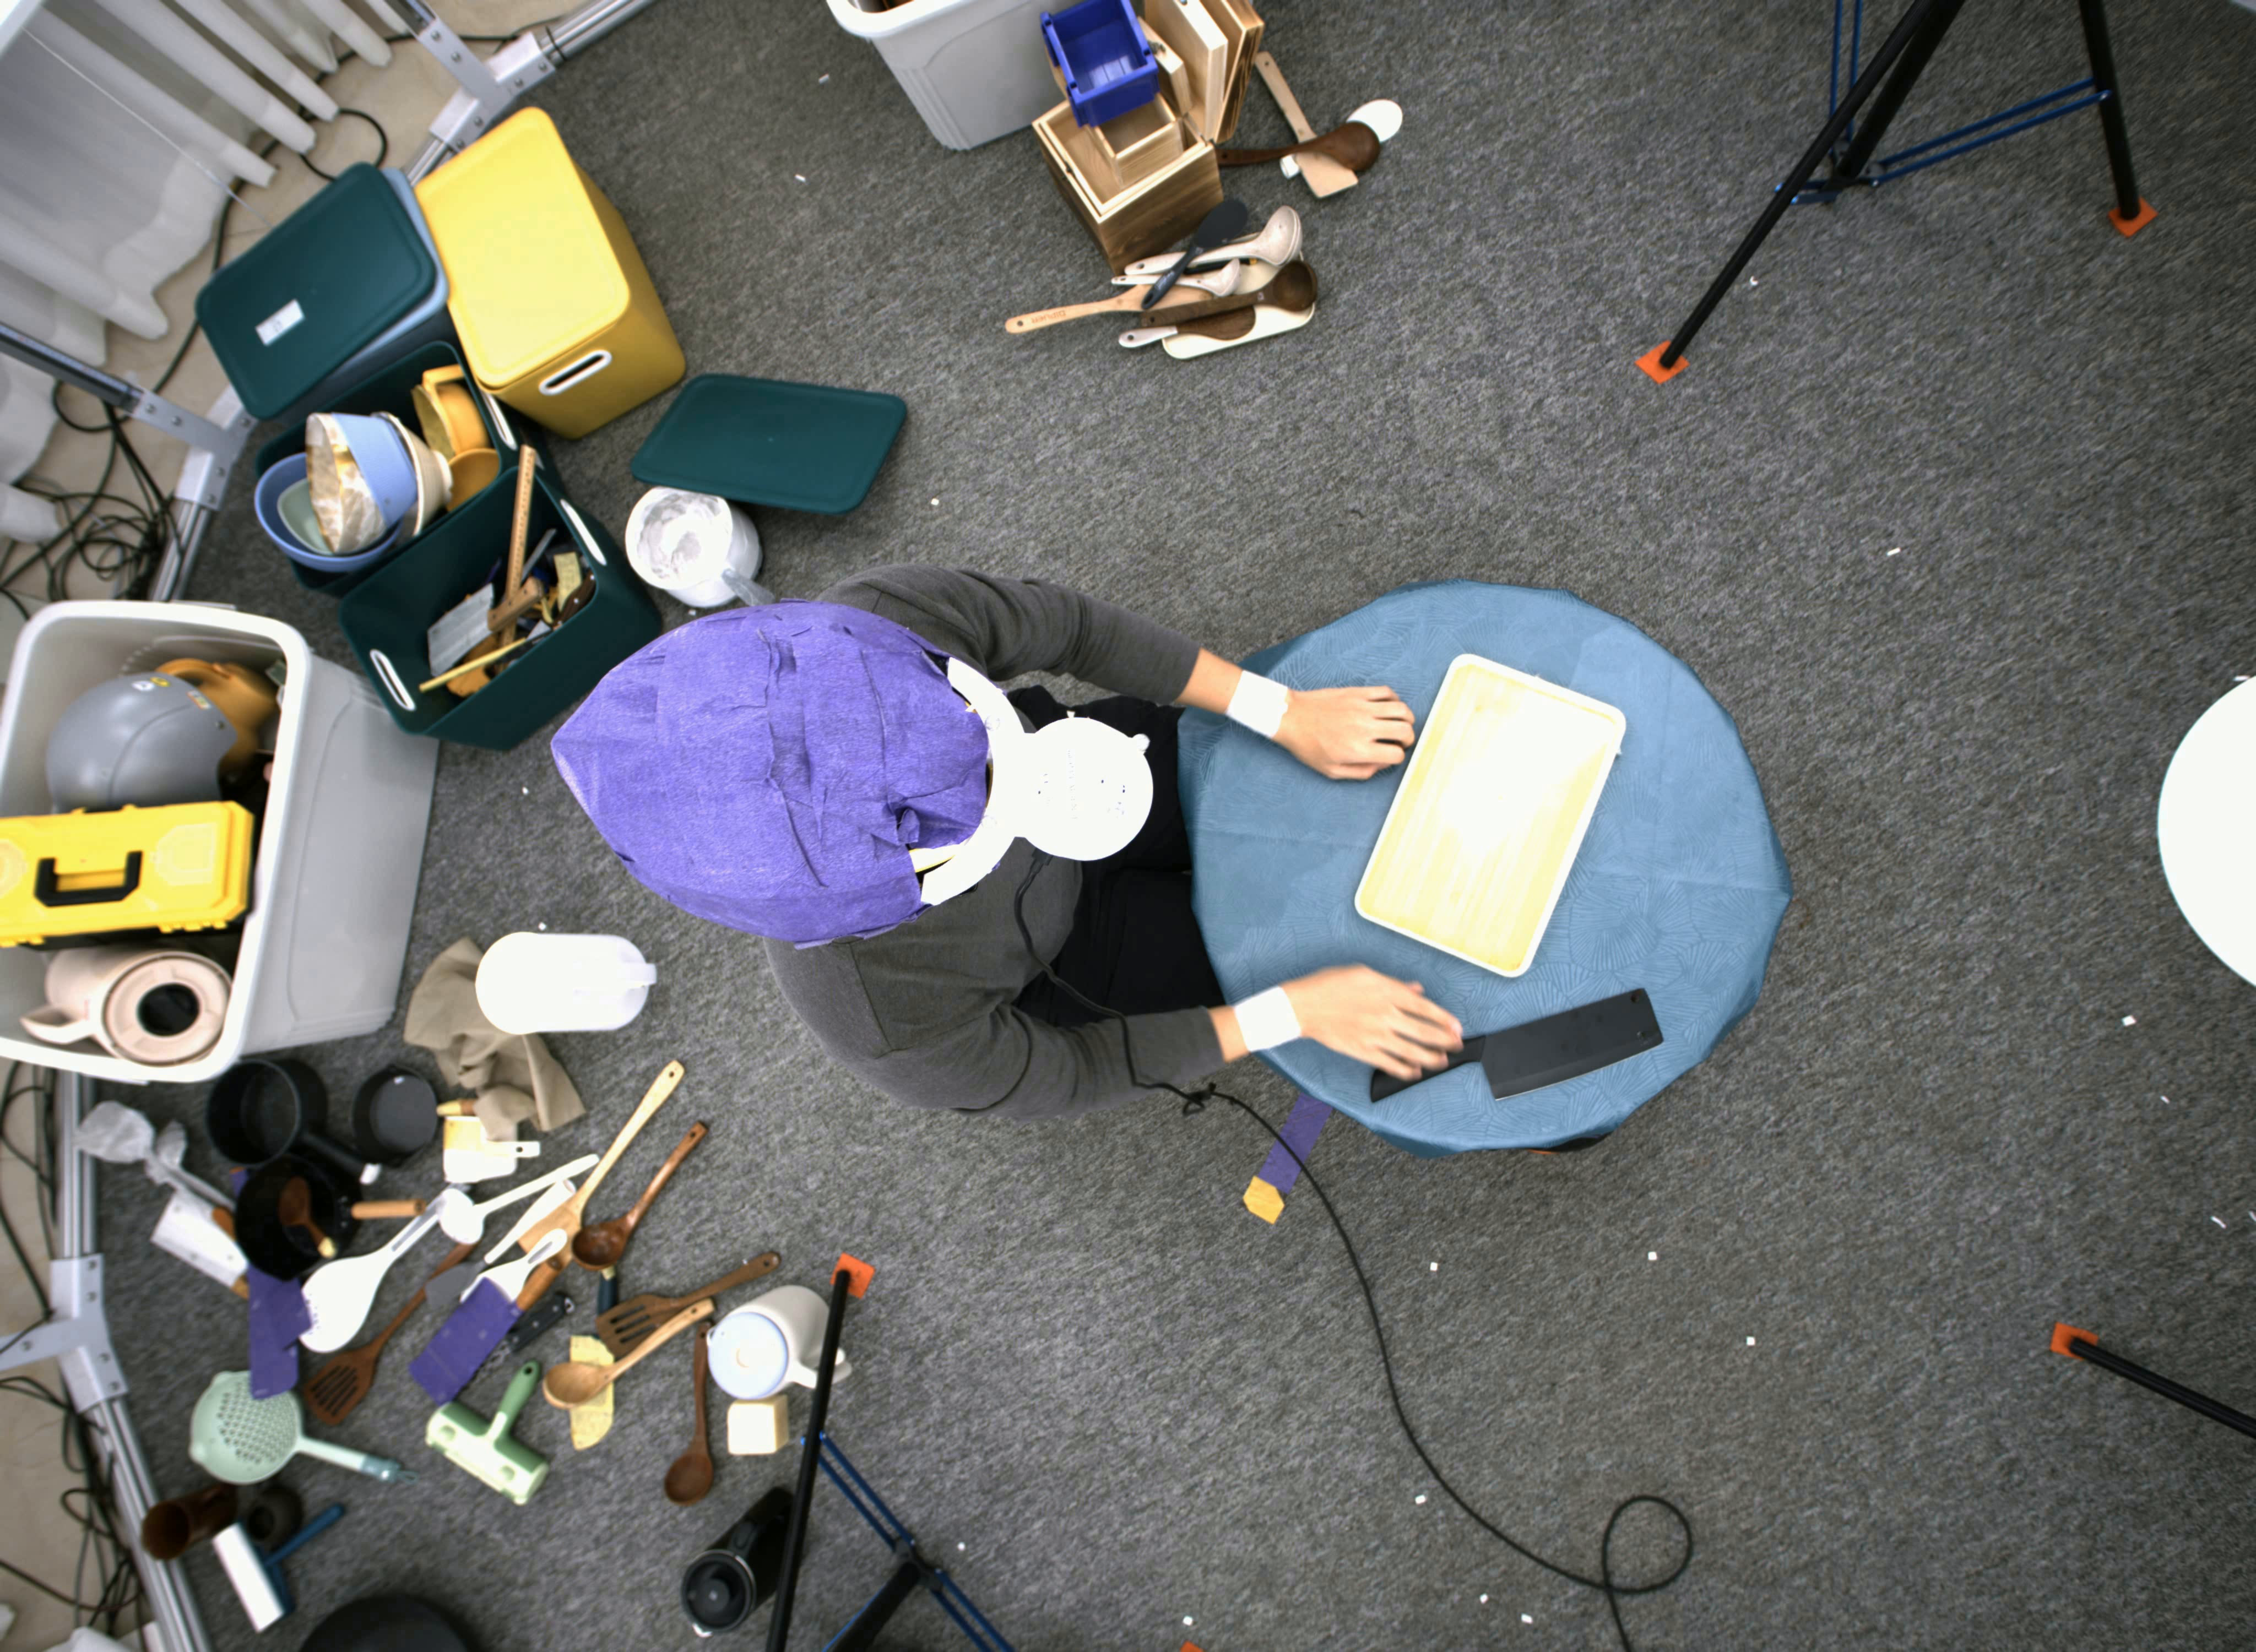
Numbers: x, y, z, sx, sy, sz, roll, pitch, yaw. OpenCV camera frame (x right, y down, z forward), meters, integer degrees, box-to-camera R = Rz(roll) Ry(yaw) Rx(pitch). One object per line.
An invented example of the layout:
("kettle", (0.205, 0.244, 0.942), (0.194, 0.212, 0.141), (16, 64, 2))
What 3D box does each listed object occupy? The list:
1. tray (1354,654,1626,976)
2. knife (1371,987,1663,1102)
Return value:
("tray", (0.375, -0.015, 1.431), (0.191, 0.027, 0.300), (23, 91, 11))
("knife", (0.397, 0.235, 1.420), (0.304, 0.021, 0.080), (-14, 85, 8))
